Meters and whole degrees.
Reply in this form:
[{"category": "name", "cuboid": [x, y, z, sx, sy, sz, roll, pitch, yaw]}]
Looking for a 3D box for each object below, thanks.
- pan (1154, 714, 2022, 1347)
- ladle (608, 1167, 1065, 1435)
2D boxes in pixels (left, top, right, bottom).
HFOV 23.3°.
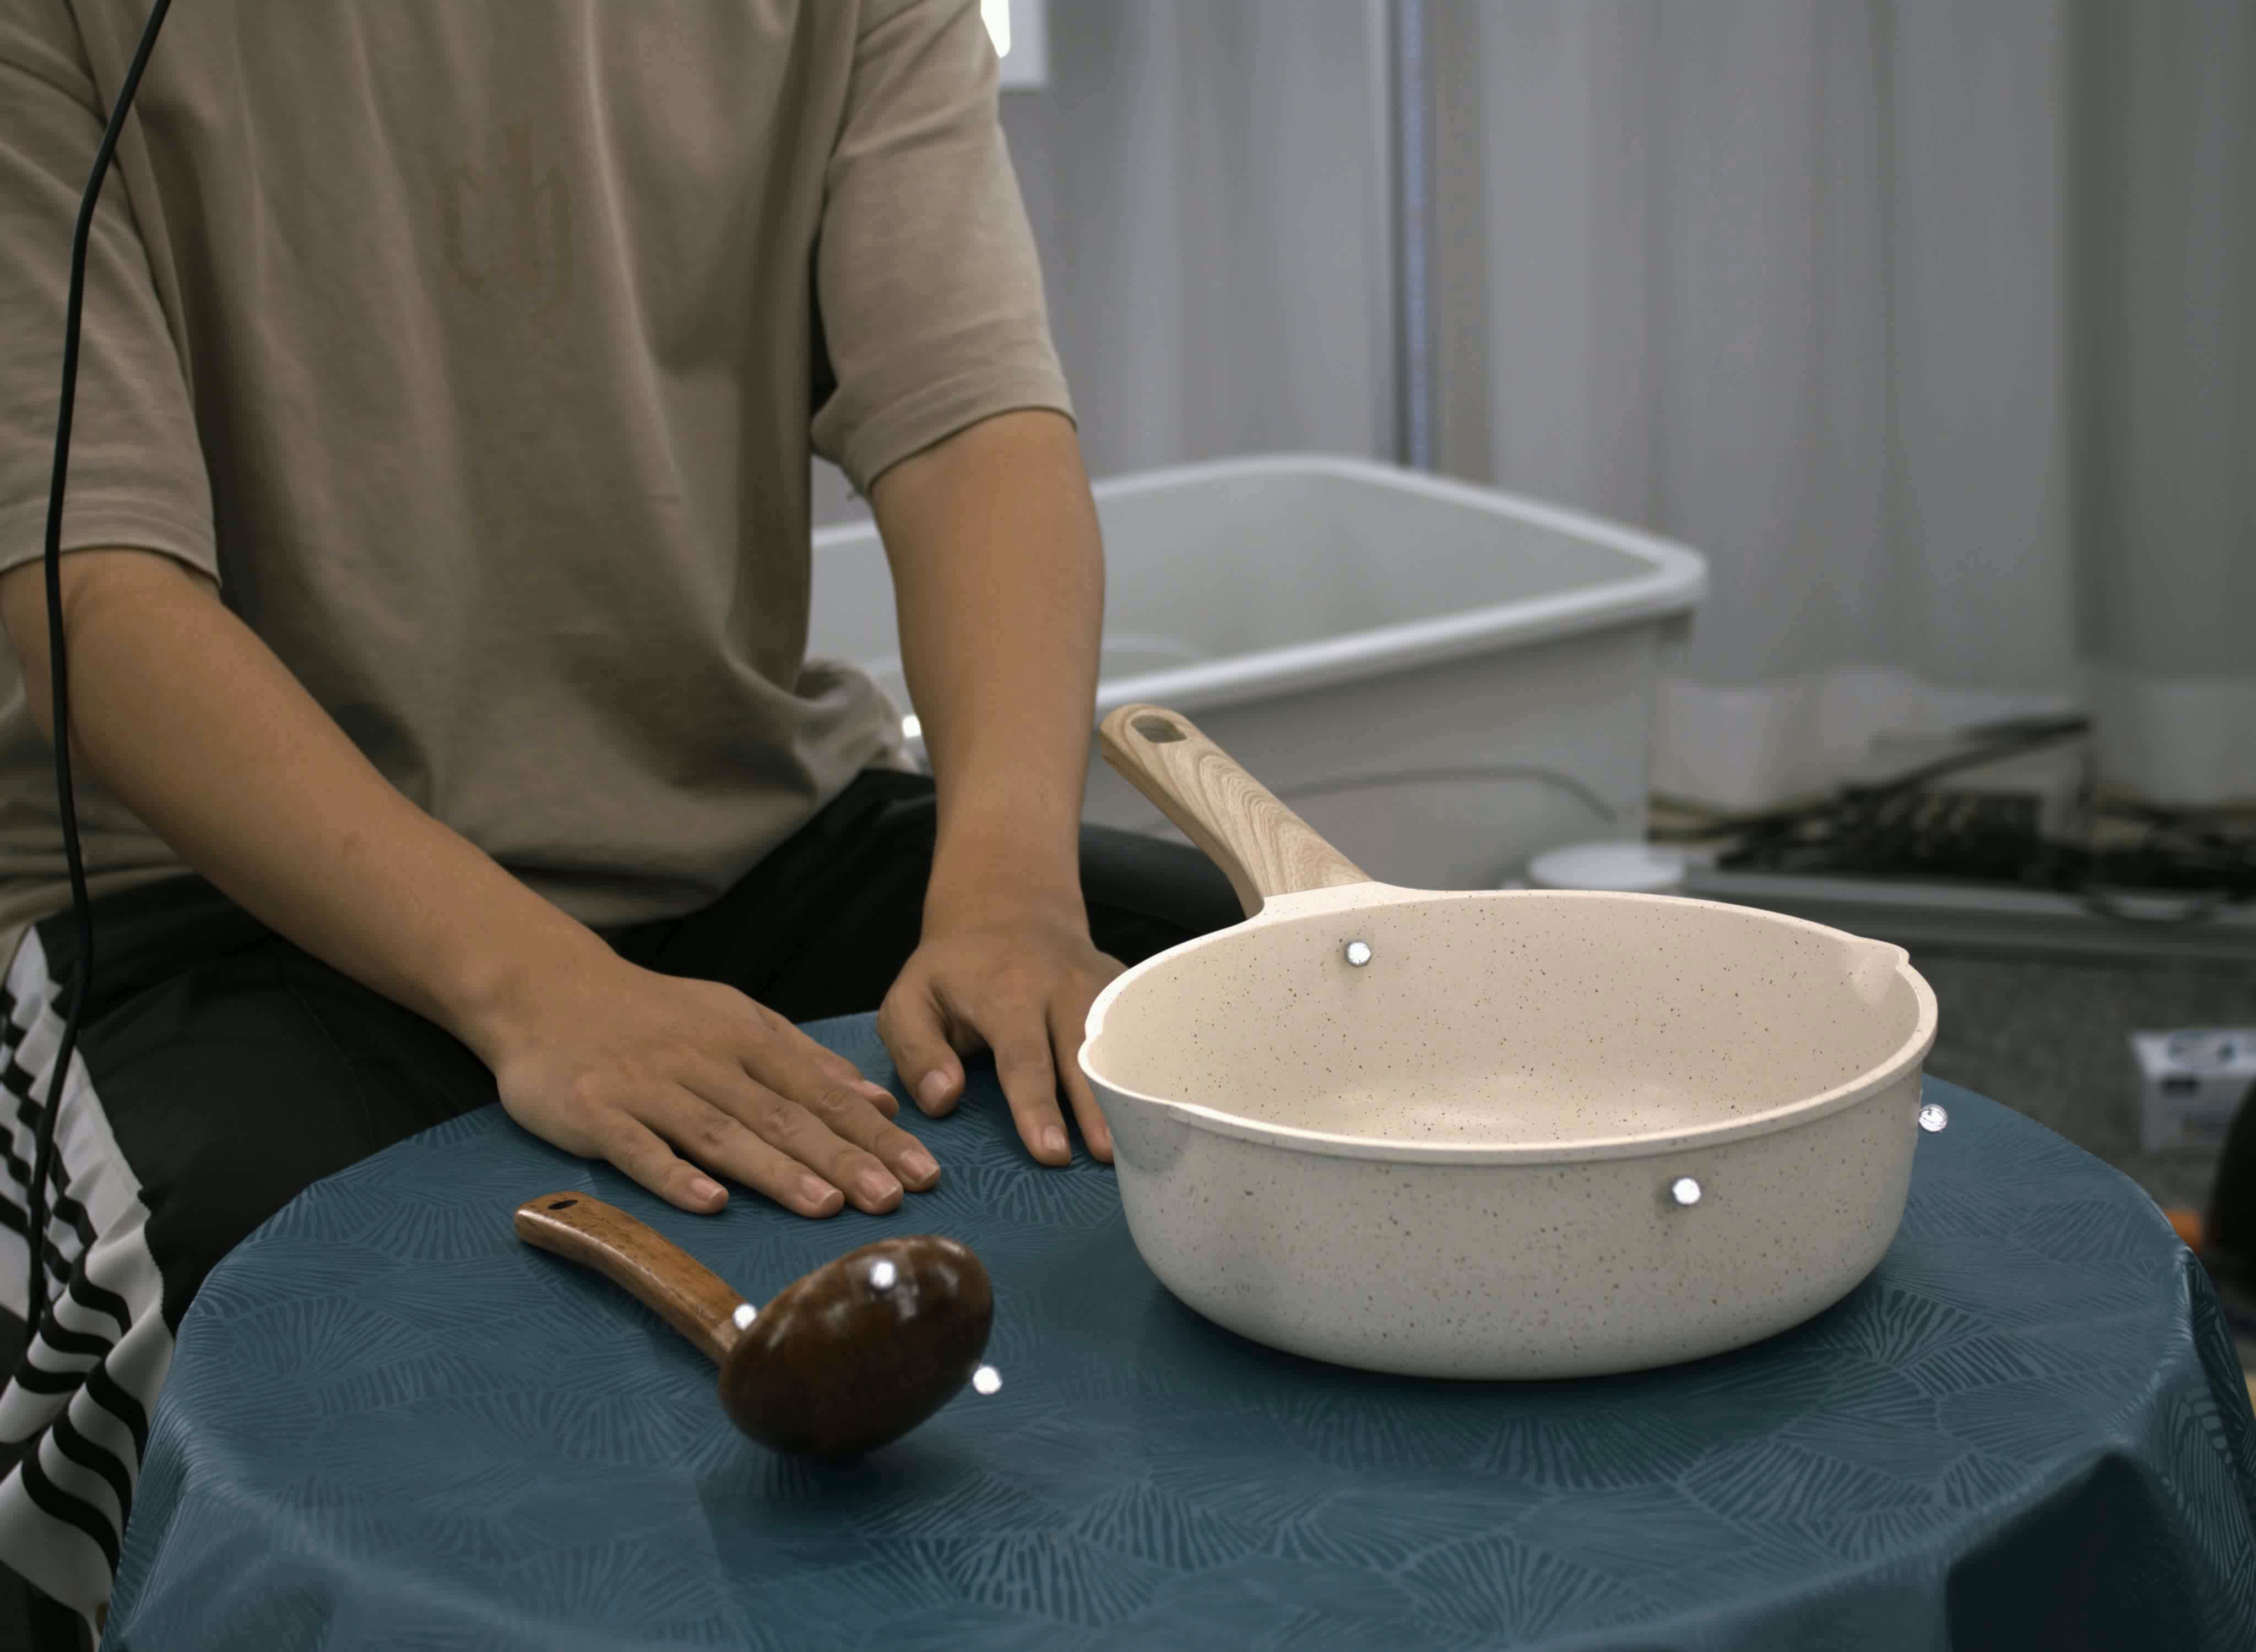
[{"category": "pan", "cuboid": [0.106, 0.057, 1.706, 0.262, 0.101, 0.438, -10, 16, -19]}, {"category": "ladle", "cuboid": [-0.101, 0.113, 1.573, 0.081, 0.076, 0.276, -12, 18, -23]}]
